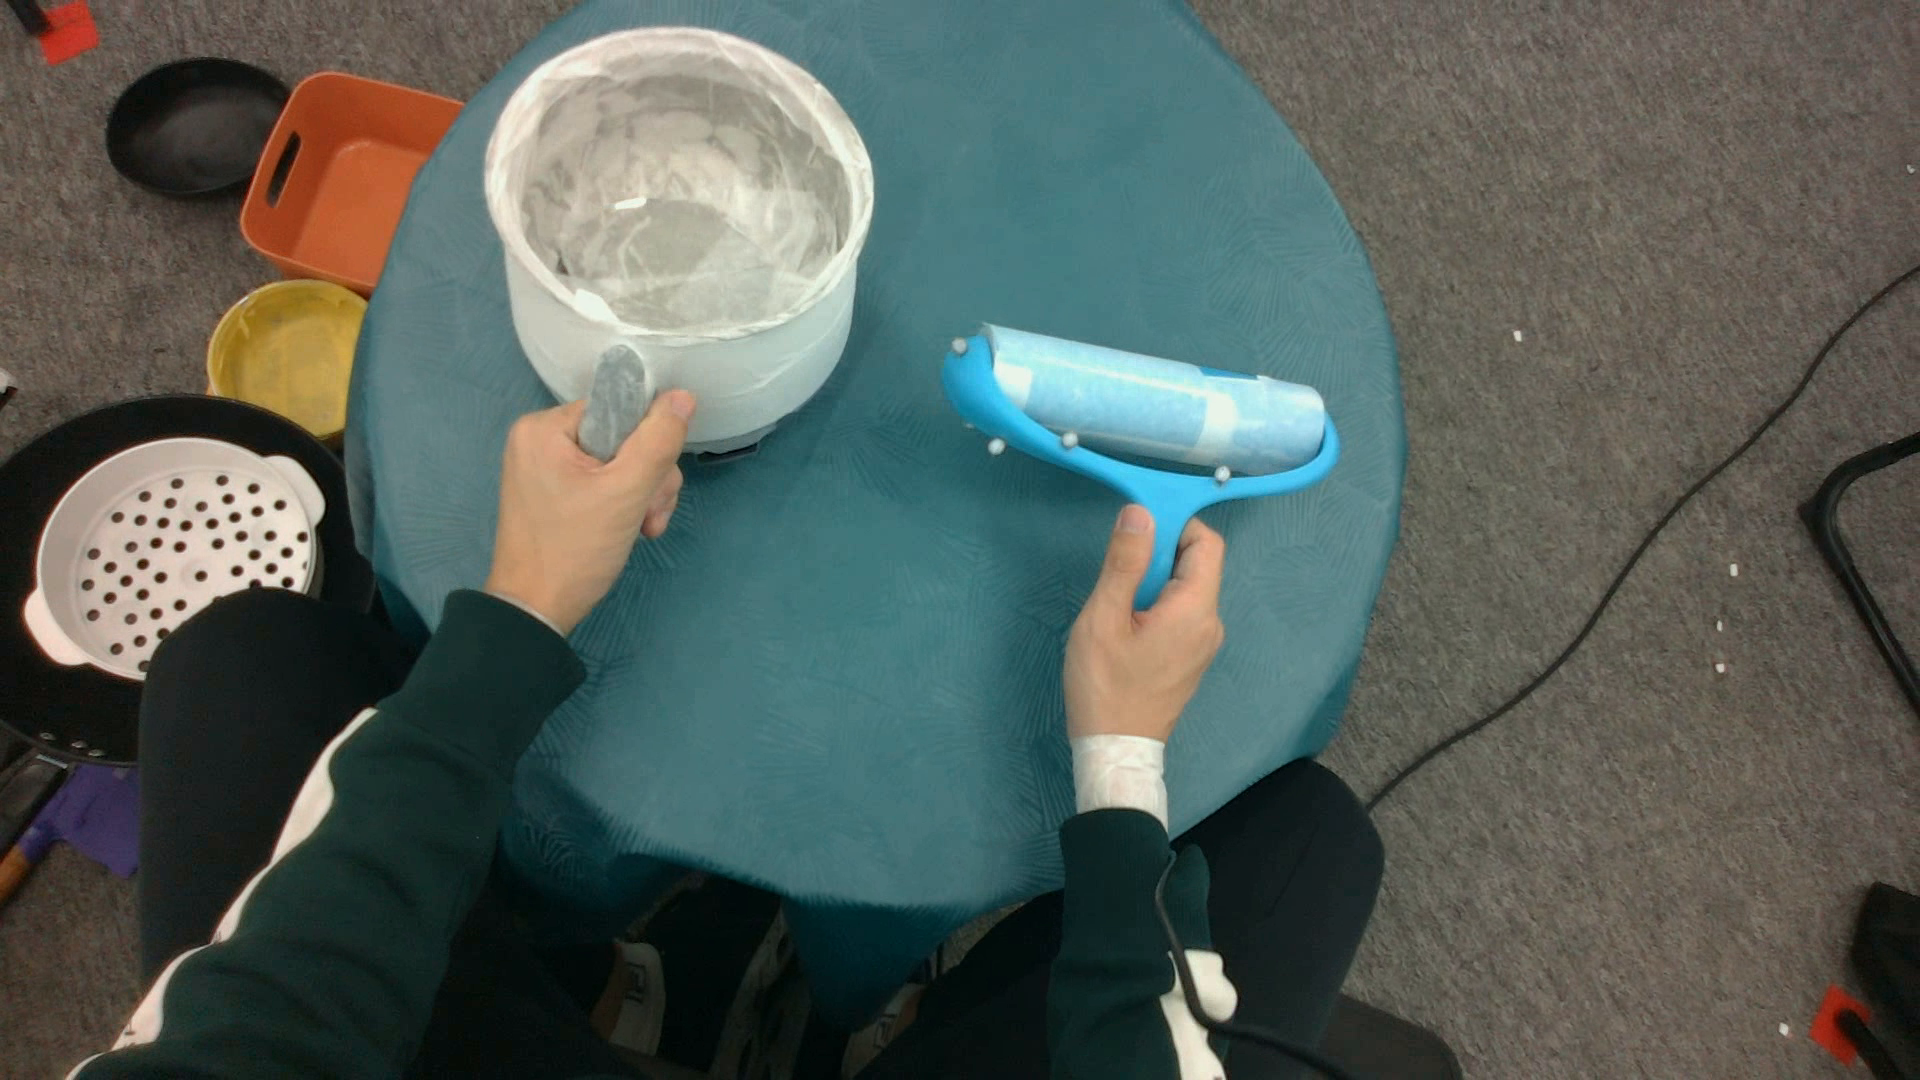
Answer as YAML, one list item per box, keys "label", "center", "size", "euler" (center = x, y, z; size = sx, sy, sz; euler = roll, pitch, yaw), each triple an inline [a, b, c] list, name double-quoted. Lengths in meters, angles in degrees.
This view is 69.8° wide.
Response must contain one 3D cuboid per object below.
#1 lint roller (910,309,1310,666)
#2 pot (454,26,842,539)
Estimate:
- label: "lint roller"
  center: [0.086, -0.027, 0.721]
  size: [0.229, 0.067, 0.180]
  euler: [2, 79, -23]
- label: "pot"
  center: [-0.157, -0.122, 0.686]
  size: [0.179, 0.136, 0.234]
  euler: [11, 63, -6]
